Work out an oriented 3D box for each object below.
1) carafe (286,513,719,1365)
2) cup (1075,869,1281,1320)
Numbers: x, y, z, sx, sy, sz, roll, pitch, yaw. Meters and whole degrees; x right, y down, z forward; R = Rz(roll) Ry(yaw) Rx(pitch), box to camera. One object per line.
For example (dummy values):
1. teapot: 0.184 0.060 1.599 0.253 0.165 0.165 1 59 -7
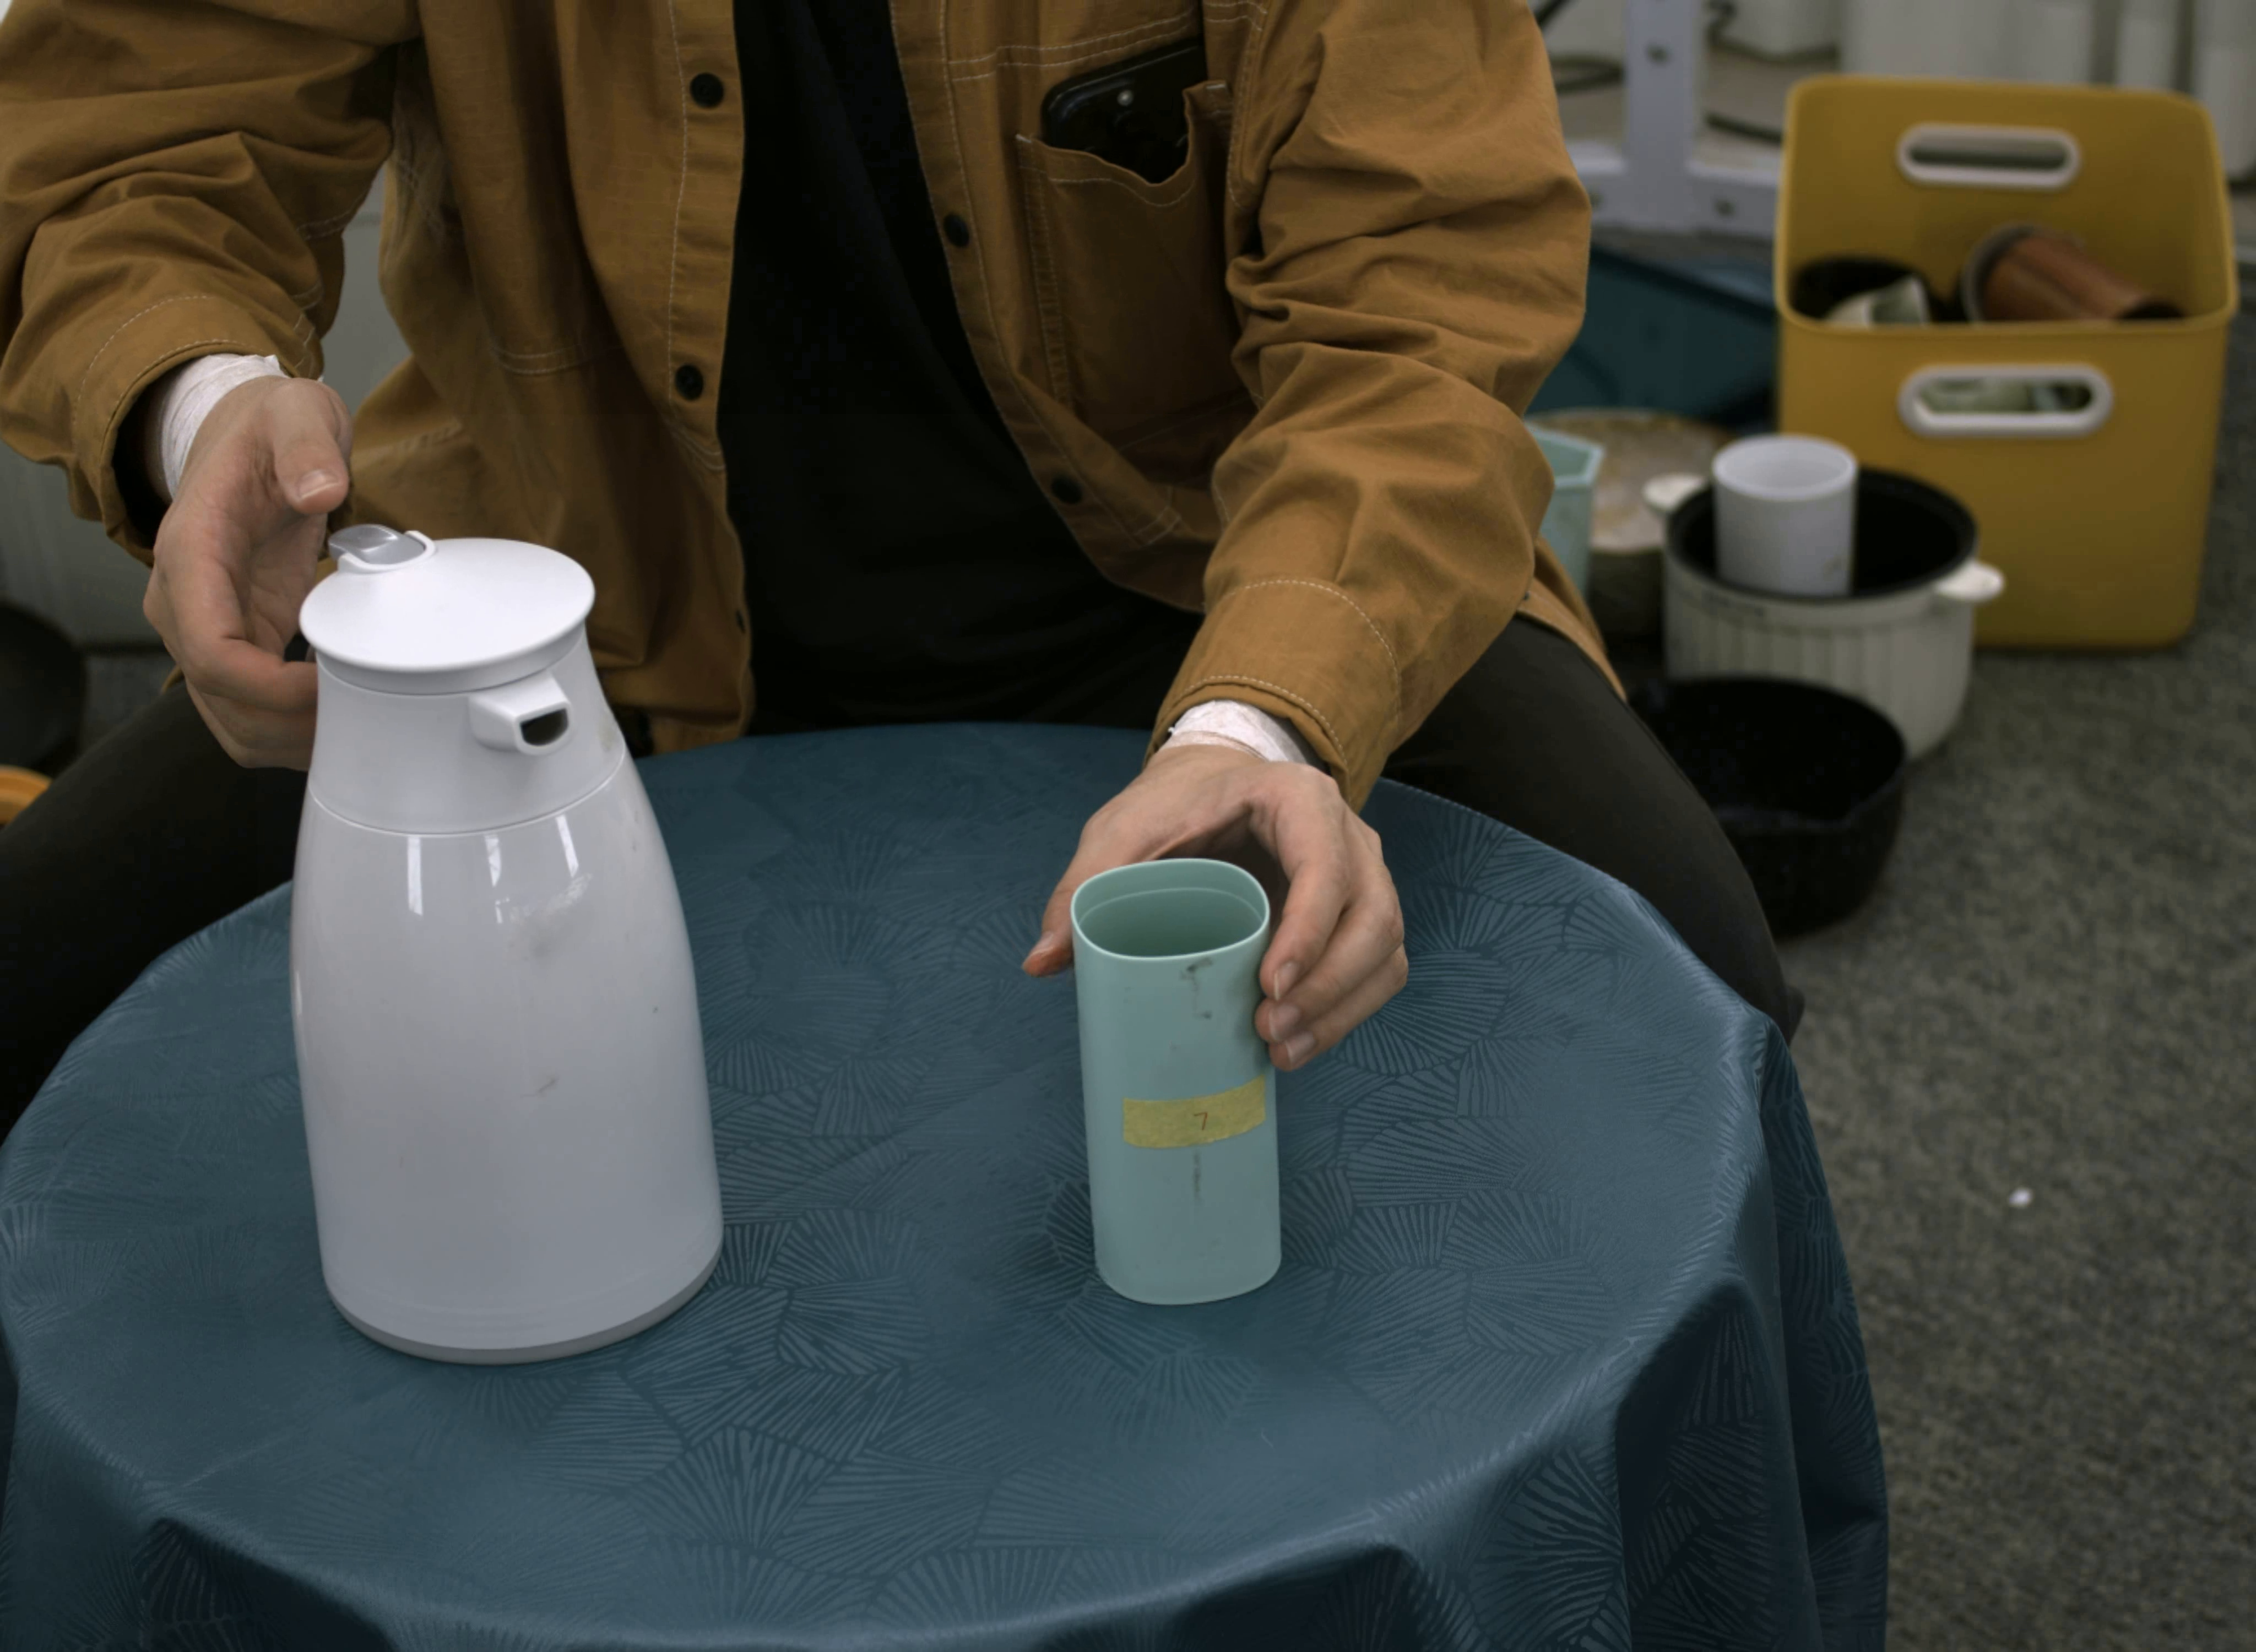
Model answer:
1. carafe: -0.216 0.026 1.799 0.133 0.246 0.168 -19 30 -29
2. cup: 0.017 0.085 1.794 0.066 0.131 0.068 -2 27 1
